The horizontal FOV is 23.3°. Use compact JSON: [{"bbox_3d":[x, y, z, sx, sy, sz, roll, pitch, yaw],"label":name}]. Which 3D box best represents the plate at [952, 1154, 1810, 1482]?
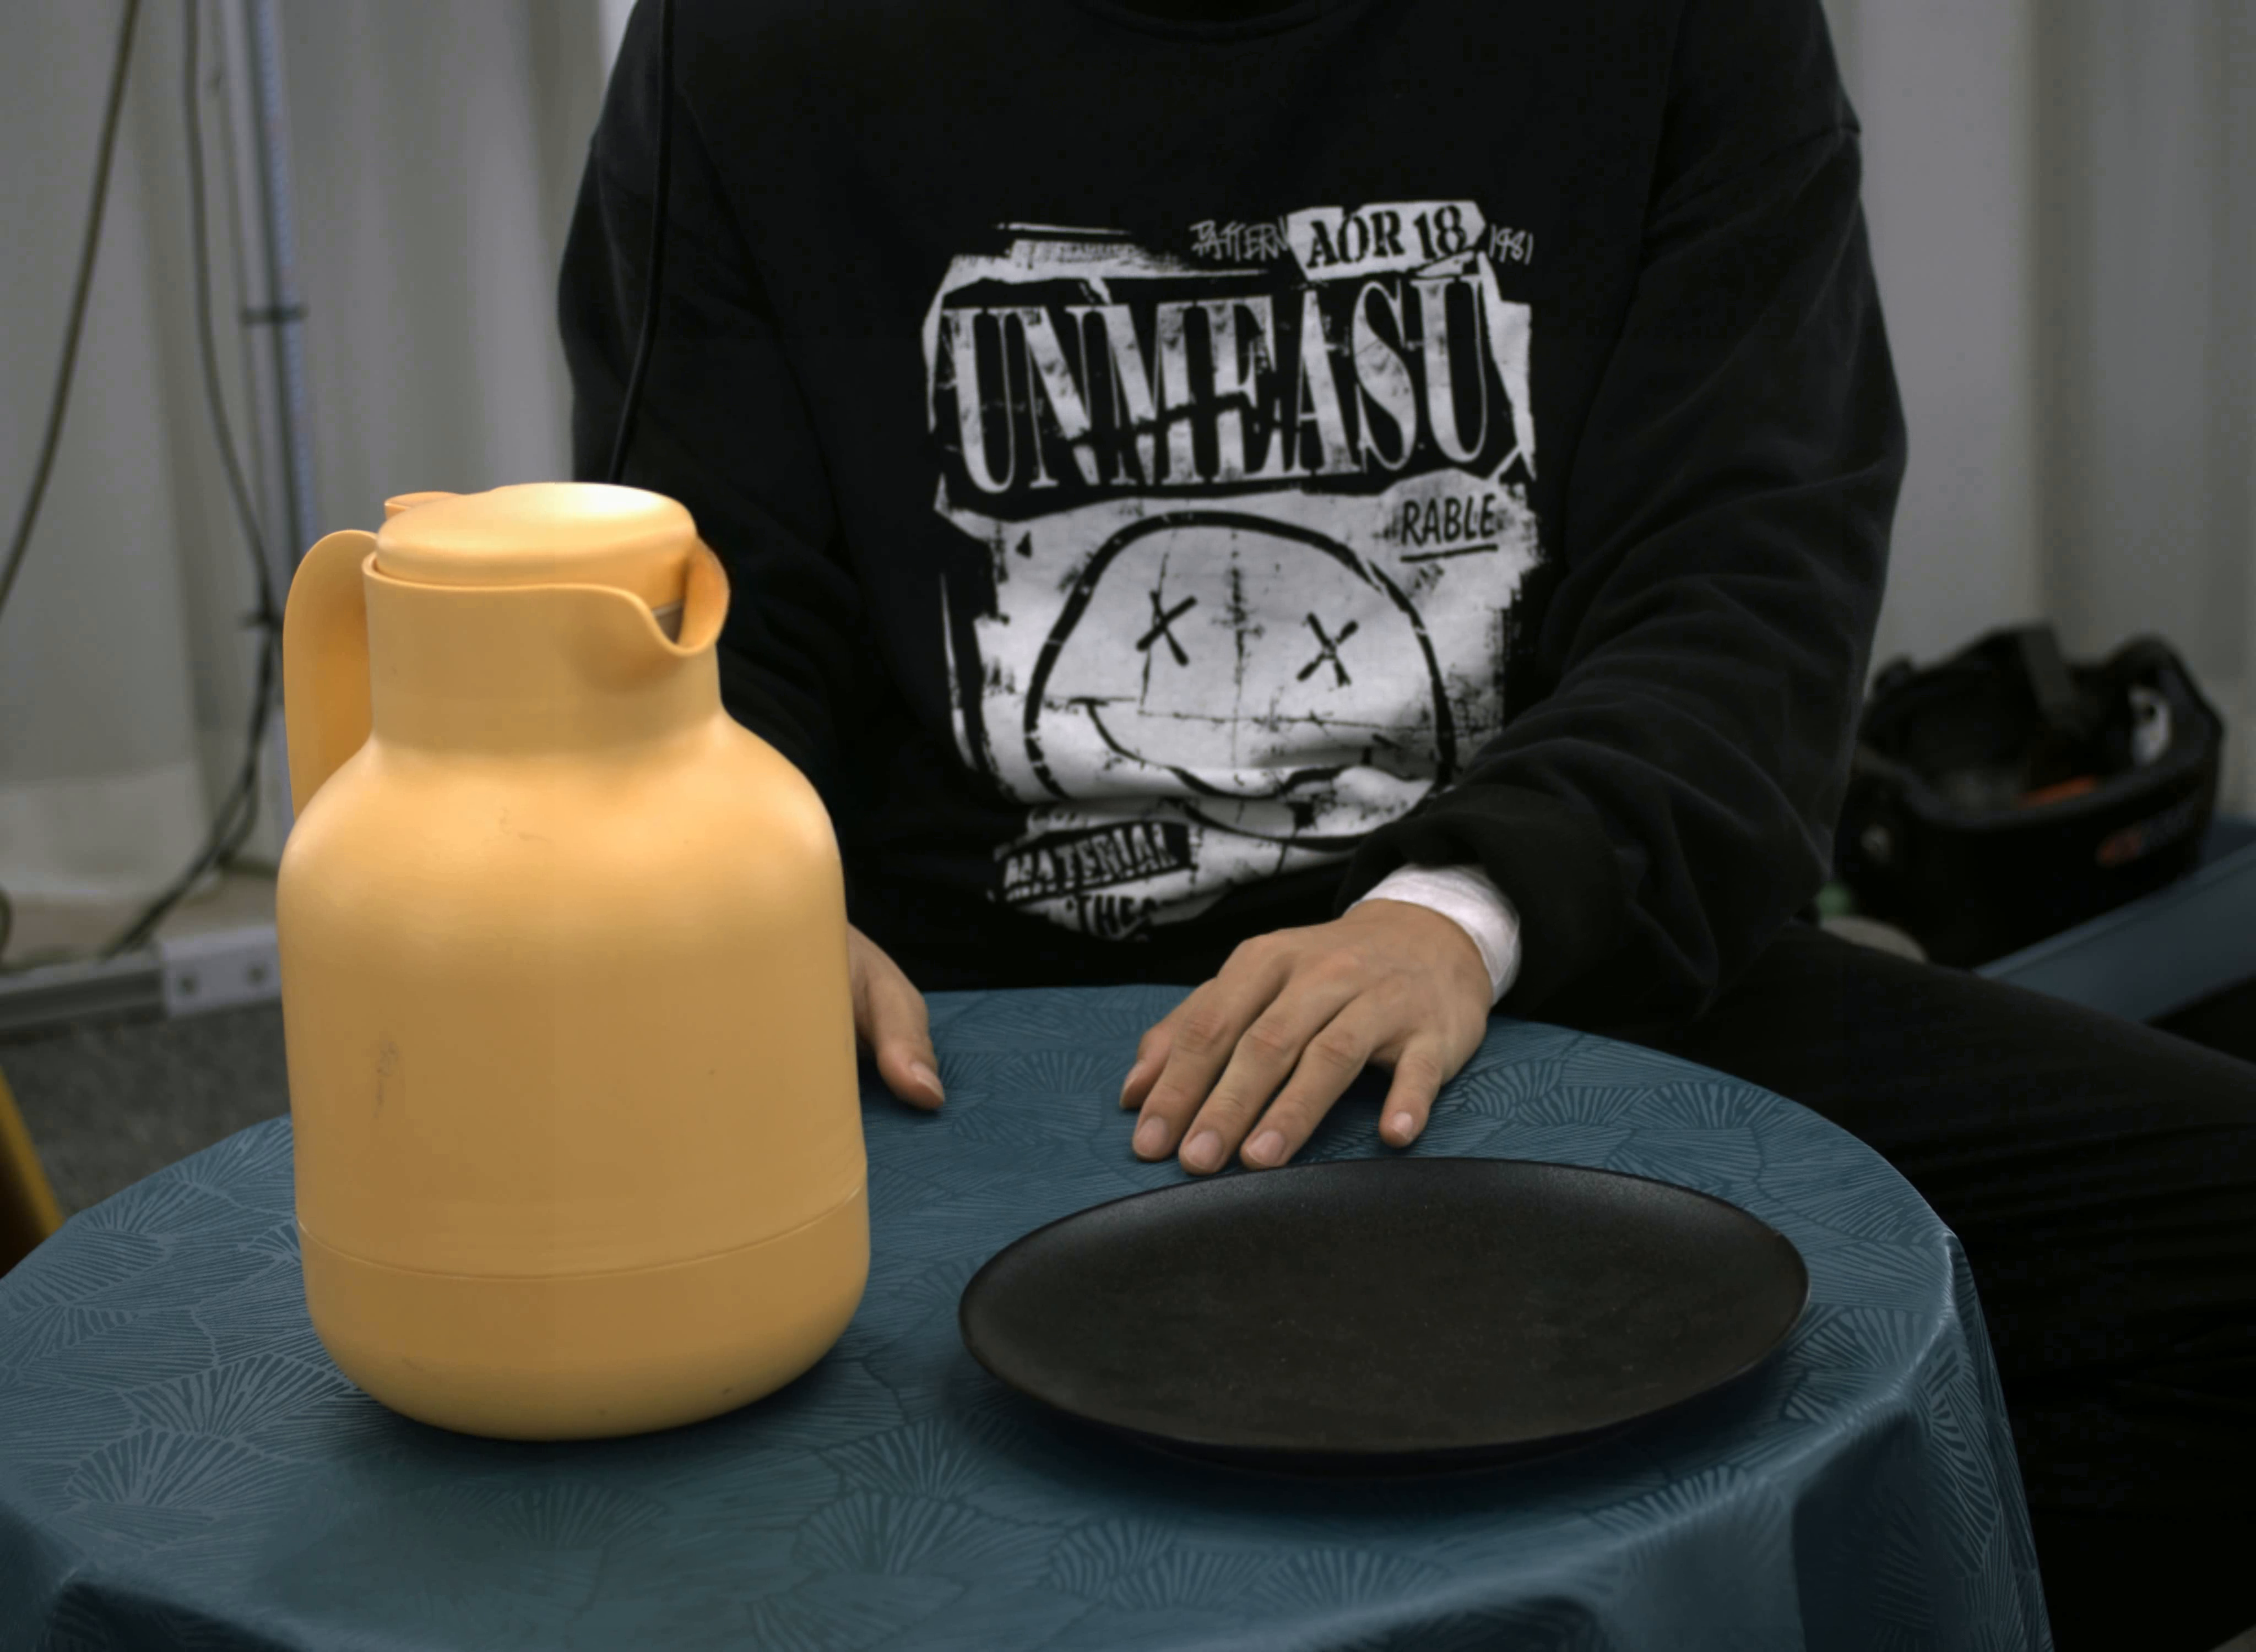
[{"bbox_3d":[0.072,0.142,1.552,0.243,0.023,0.246,-3,15,0],"label":"plate"}]

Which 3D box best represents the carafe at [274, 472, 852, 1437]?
[{"bbox_3d":[-0.171,0.028,1.565,0.163,0.259,0.204,-10,17,-37],"label":"carafe"}]
